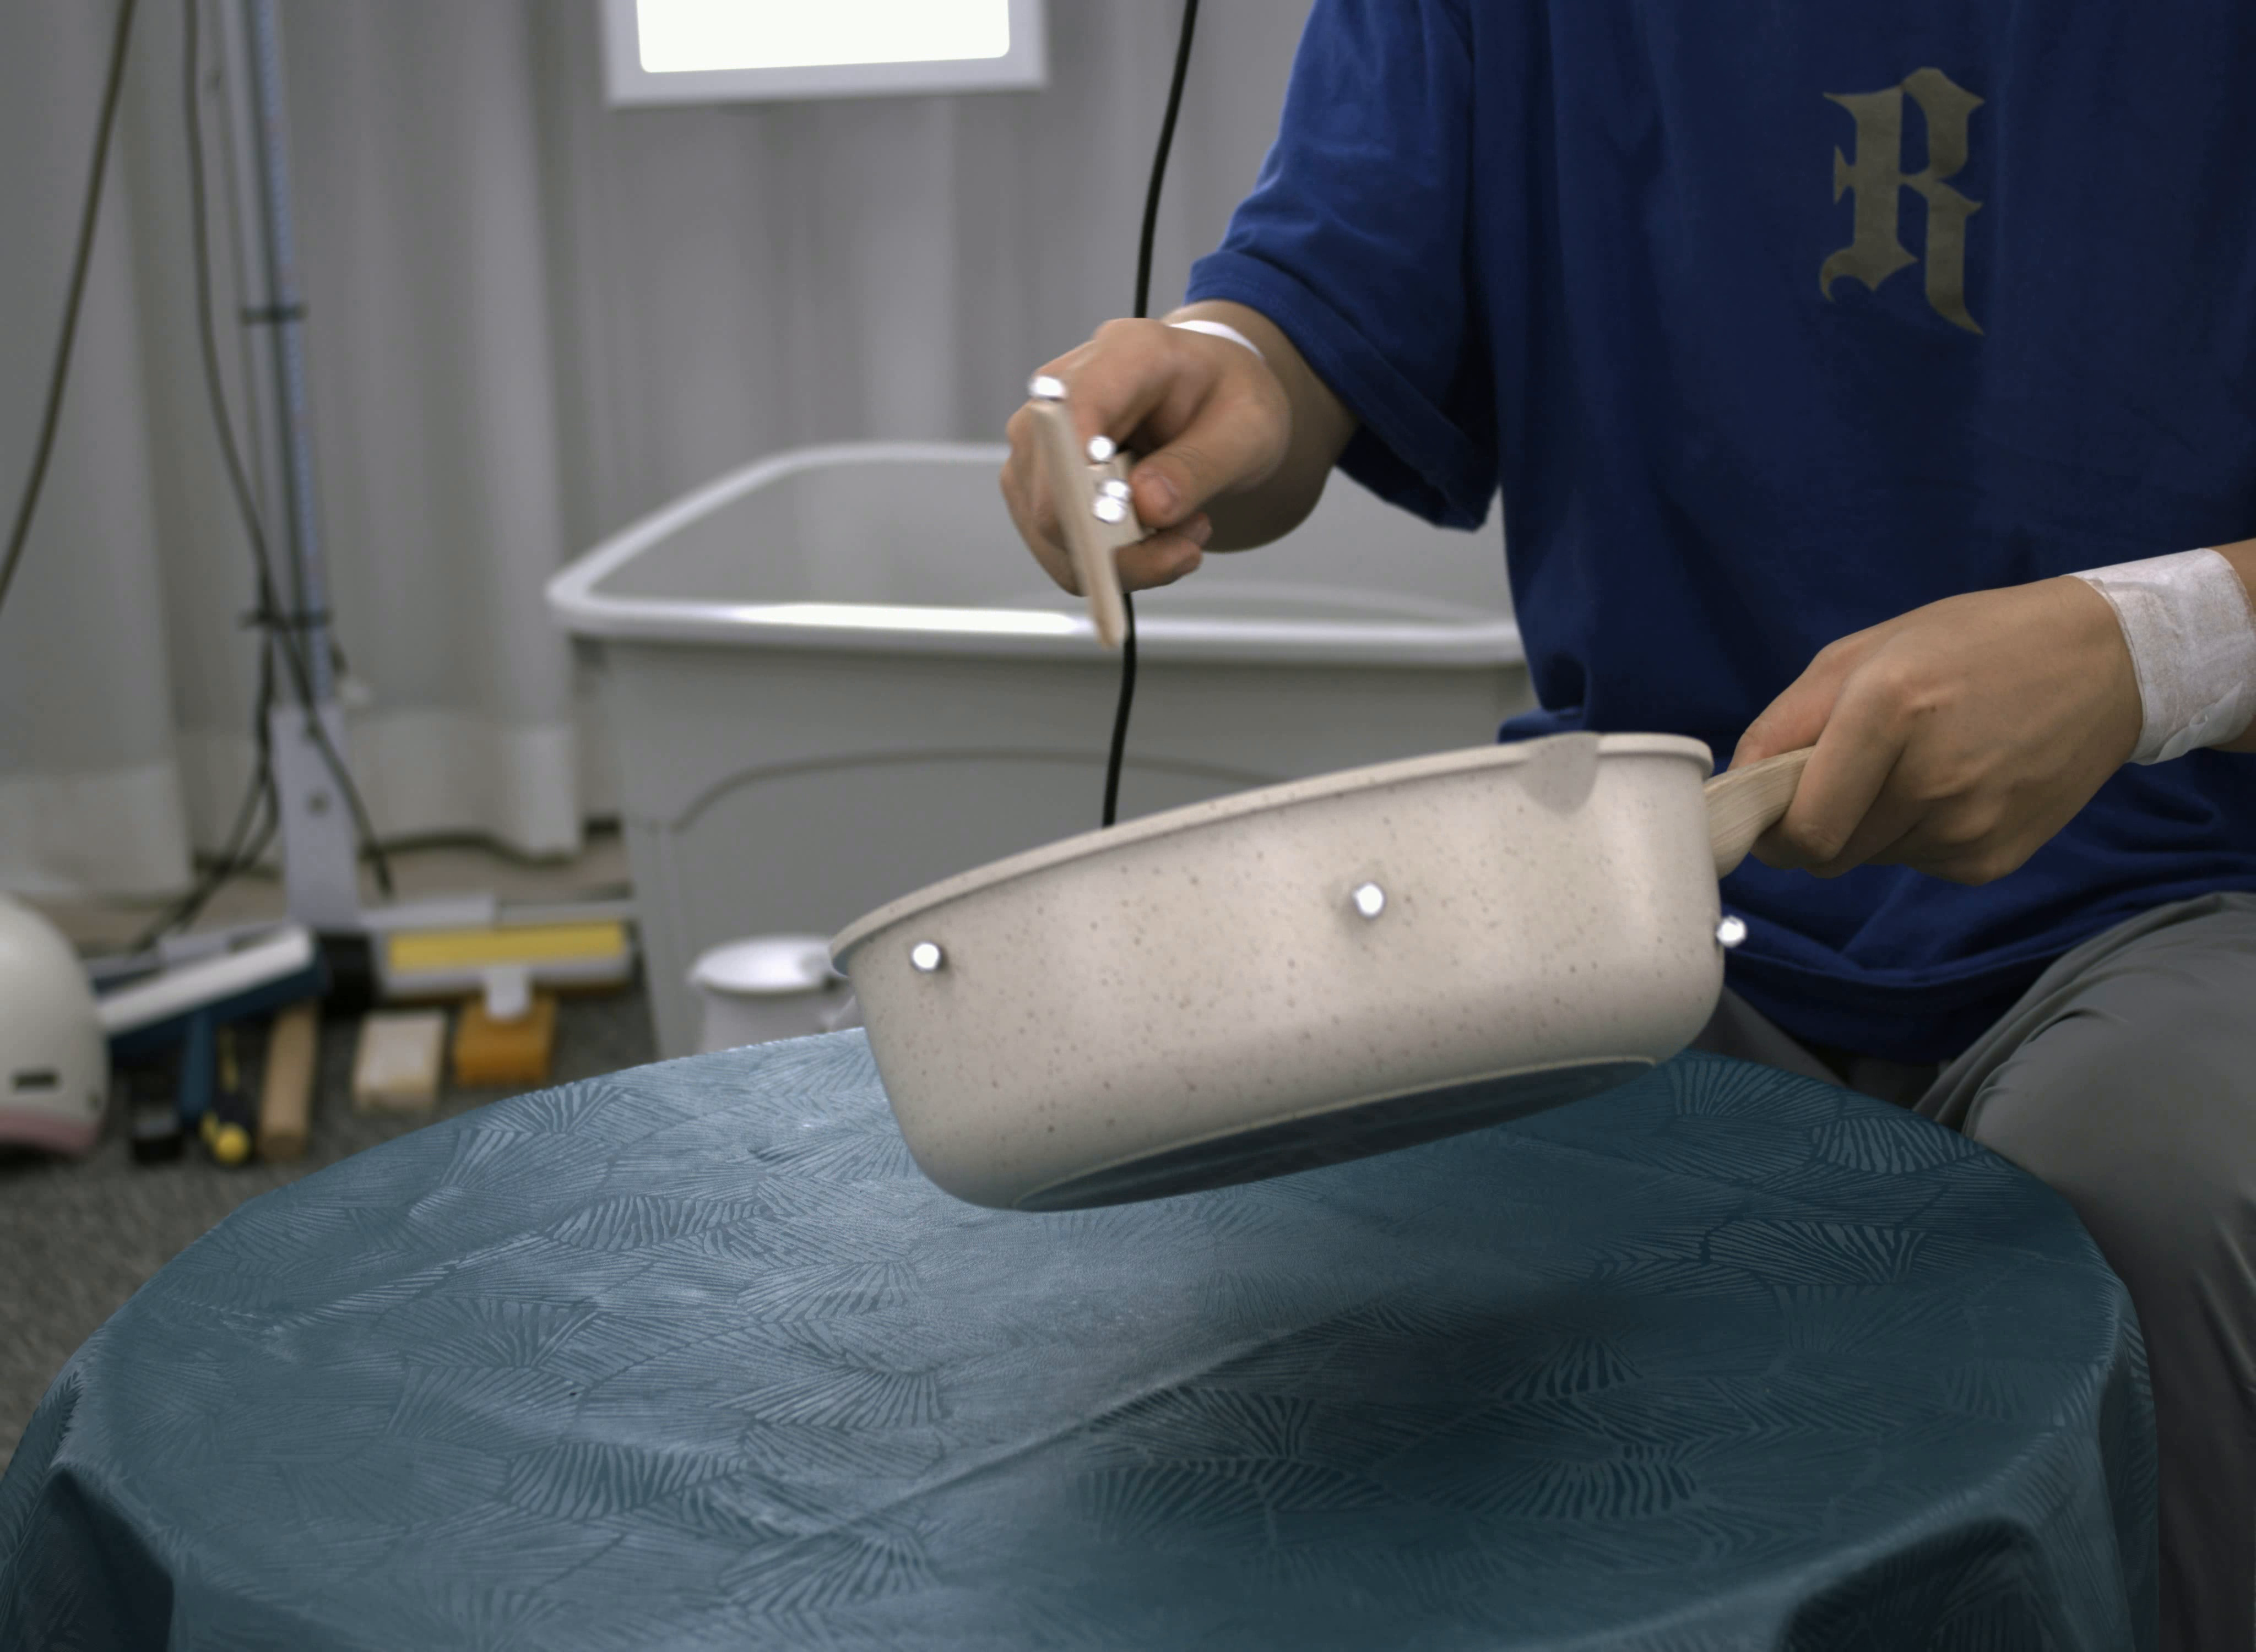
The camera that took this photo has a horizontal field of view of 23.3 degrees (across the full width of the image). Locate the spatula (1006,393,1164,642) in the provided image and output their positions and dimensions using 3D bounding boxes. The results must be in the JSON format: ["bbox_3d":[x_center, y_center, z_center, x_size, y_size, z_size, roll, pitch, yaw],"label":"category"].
[{"bbox_3d":[-0.010,-0.097,1.646,0.010,0.072,0.293,-18,3,7],"label":"spatula"}]

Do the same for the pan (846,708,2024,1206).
[{"bbox_3d":[0.121,0.030,1.565,0.432,0.103,0.262,-5,-13,-40],"label":"pan"}]
